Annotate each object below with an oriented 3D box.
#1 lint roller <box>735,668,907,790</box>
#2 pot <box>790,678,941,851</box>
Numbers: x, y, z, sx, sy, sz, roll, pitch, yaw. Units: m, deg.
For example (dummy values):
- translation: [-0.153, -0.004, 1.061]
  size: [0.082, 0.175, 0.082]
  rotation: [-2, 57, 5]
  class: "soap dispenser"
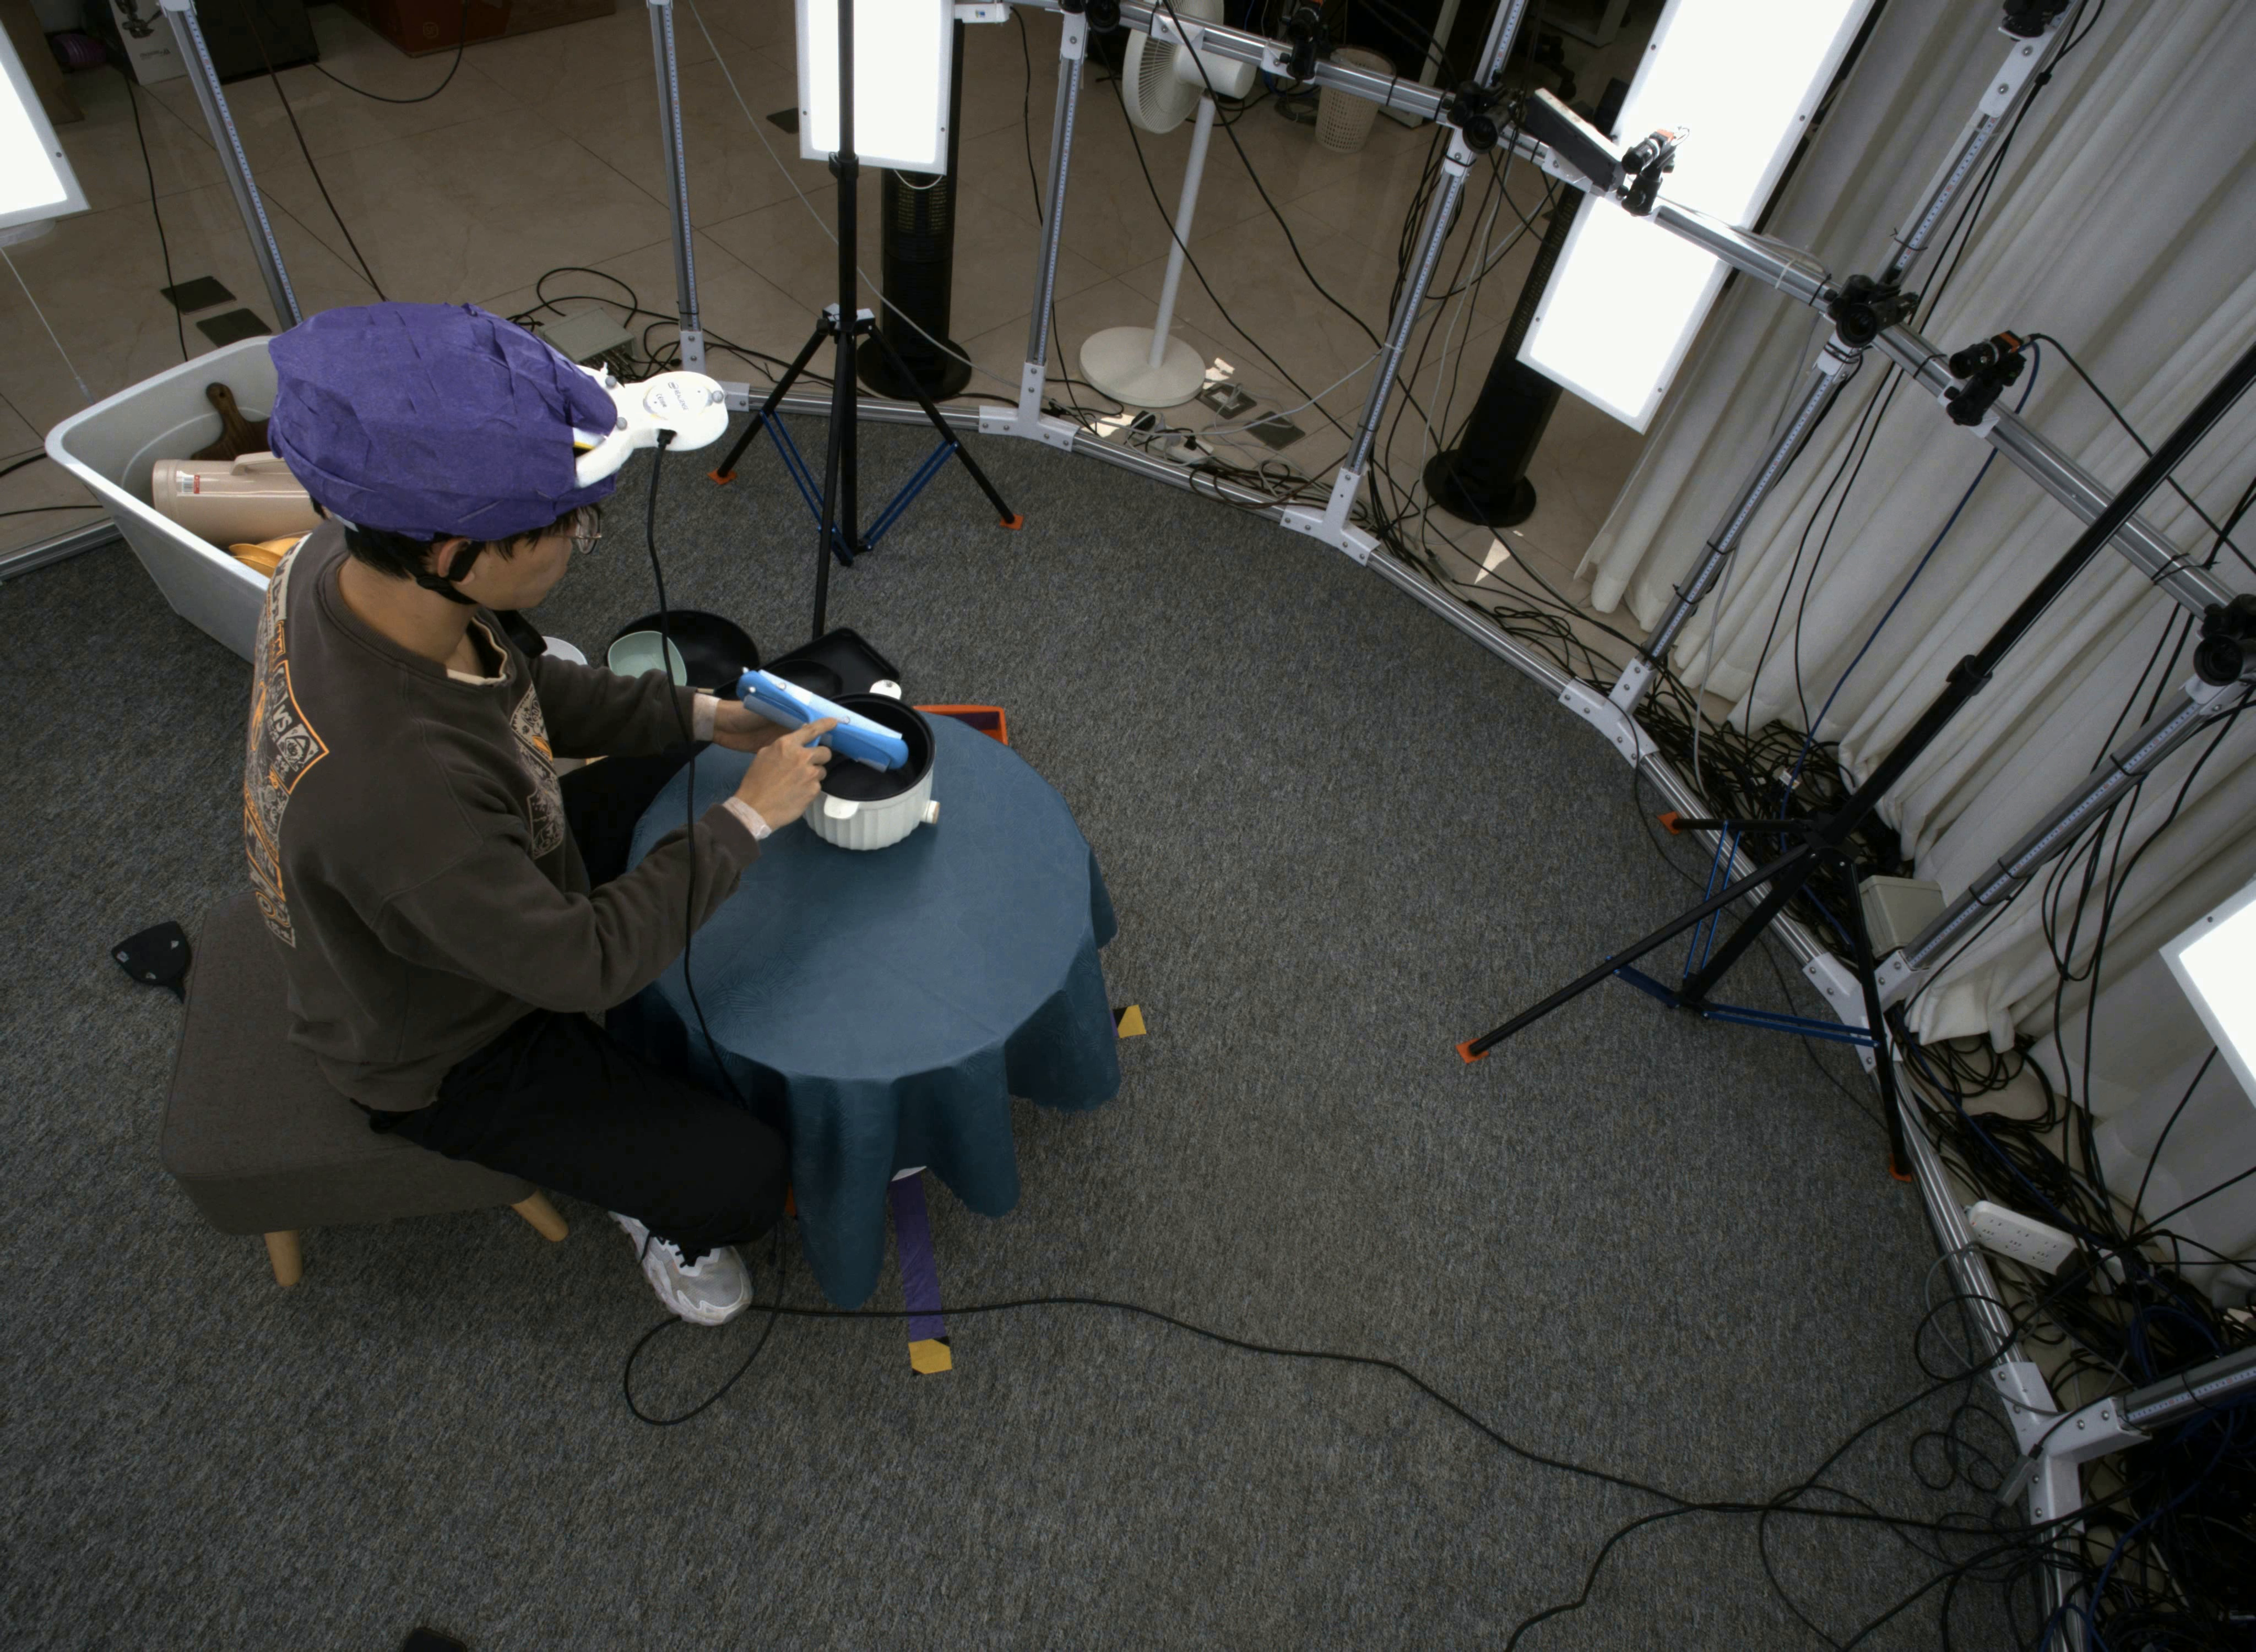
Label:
- translation: [-0.385, -0.108, 1.583]
  size: [0.231, 0.068, 0.176]
  rotation: [26, 24, -15]
  class: "lint roller"
- translation: [-0.344, -0.065, 1.717]
  size: [0.189, 0.146, 0.237]
  rotation: [10, 54, 0]
  class: "pot"
